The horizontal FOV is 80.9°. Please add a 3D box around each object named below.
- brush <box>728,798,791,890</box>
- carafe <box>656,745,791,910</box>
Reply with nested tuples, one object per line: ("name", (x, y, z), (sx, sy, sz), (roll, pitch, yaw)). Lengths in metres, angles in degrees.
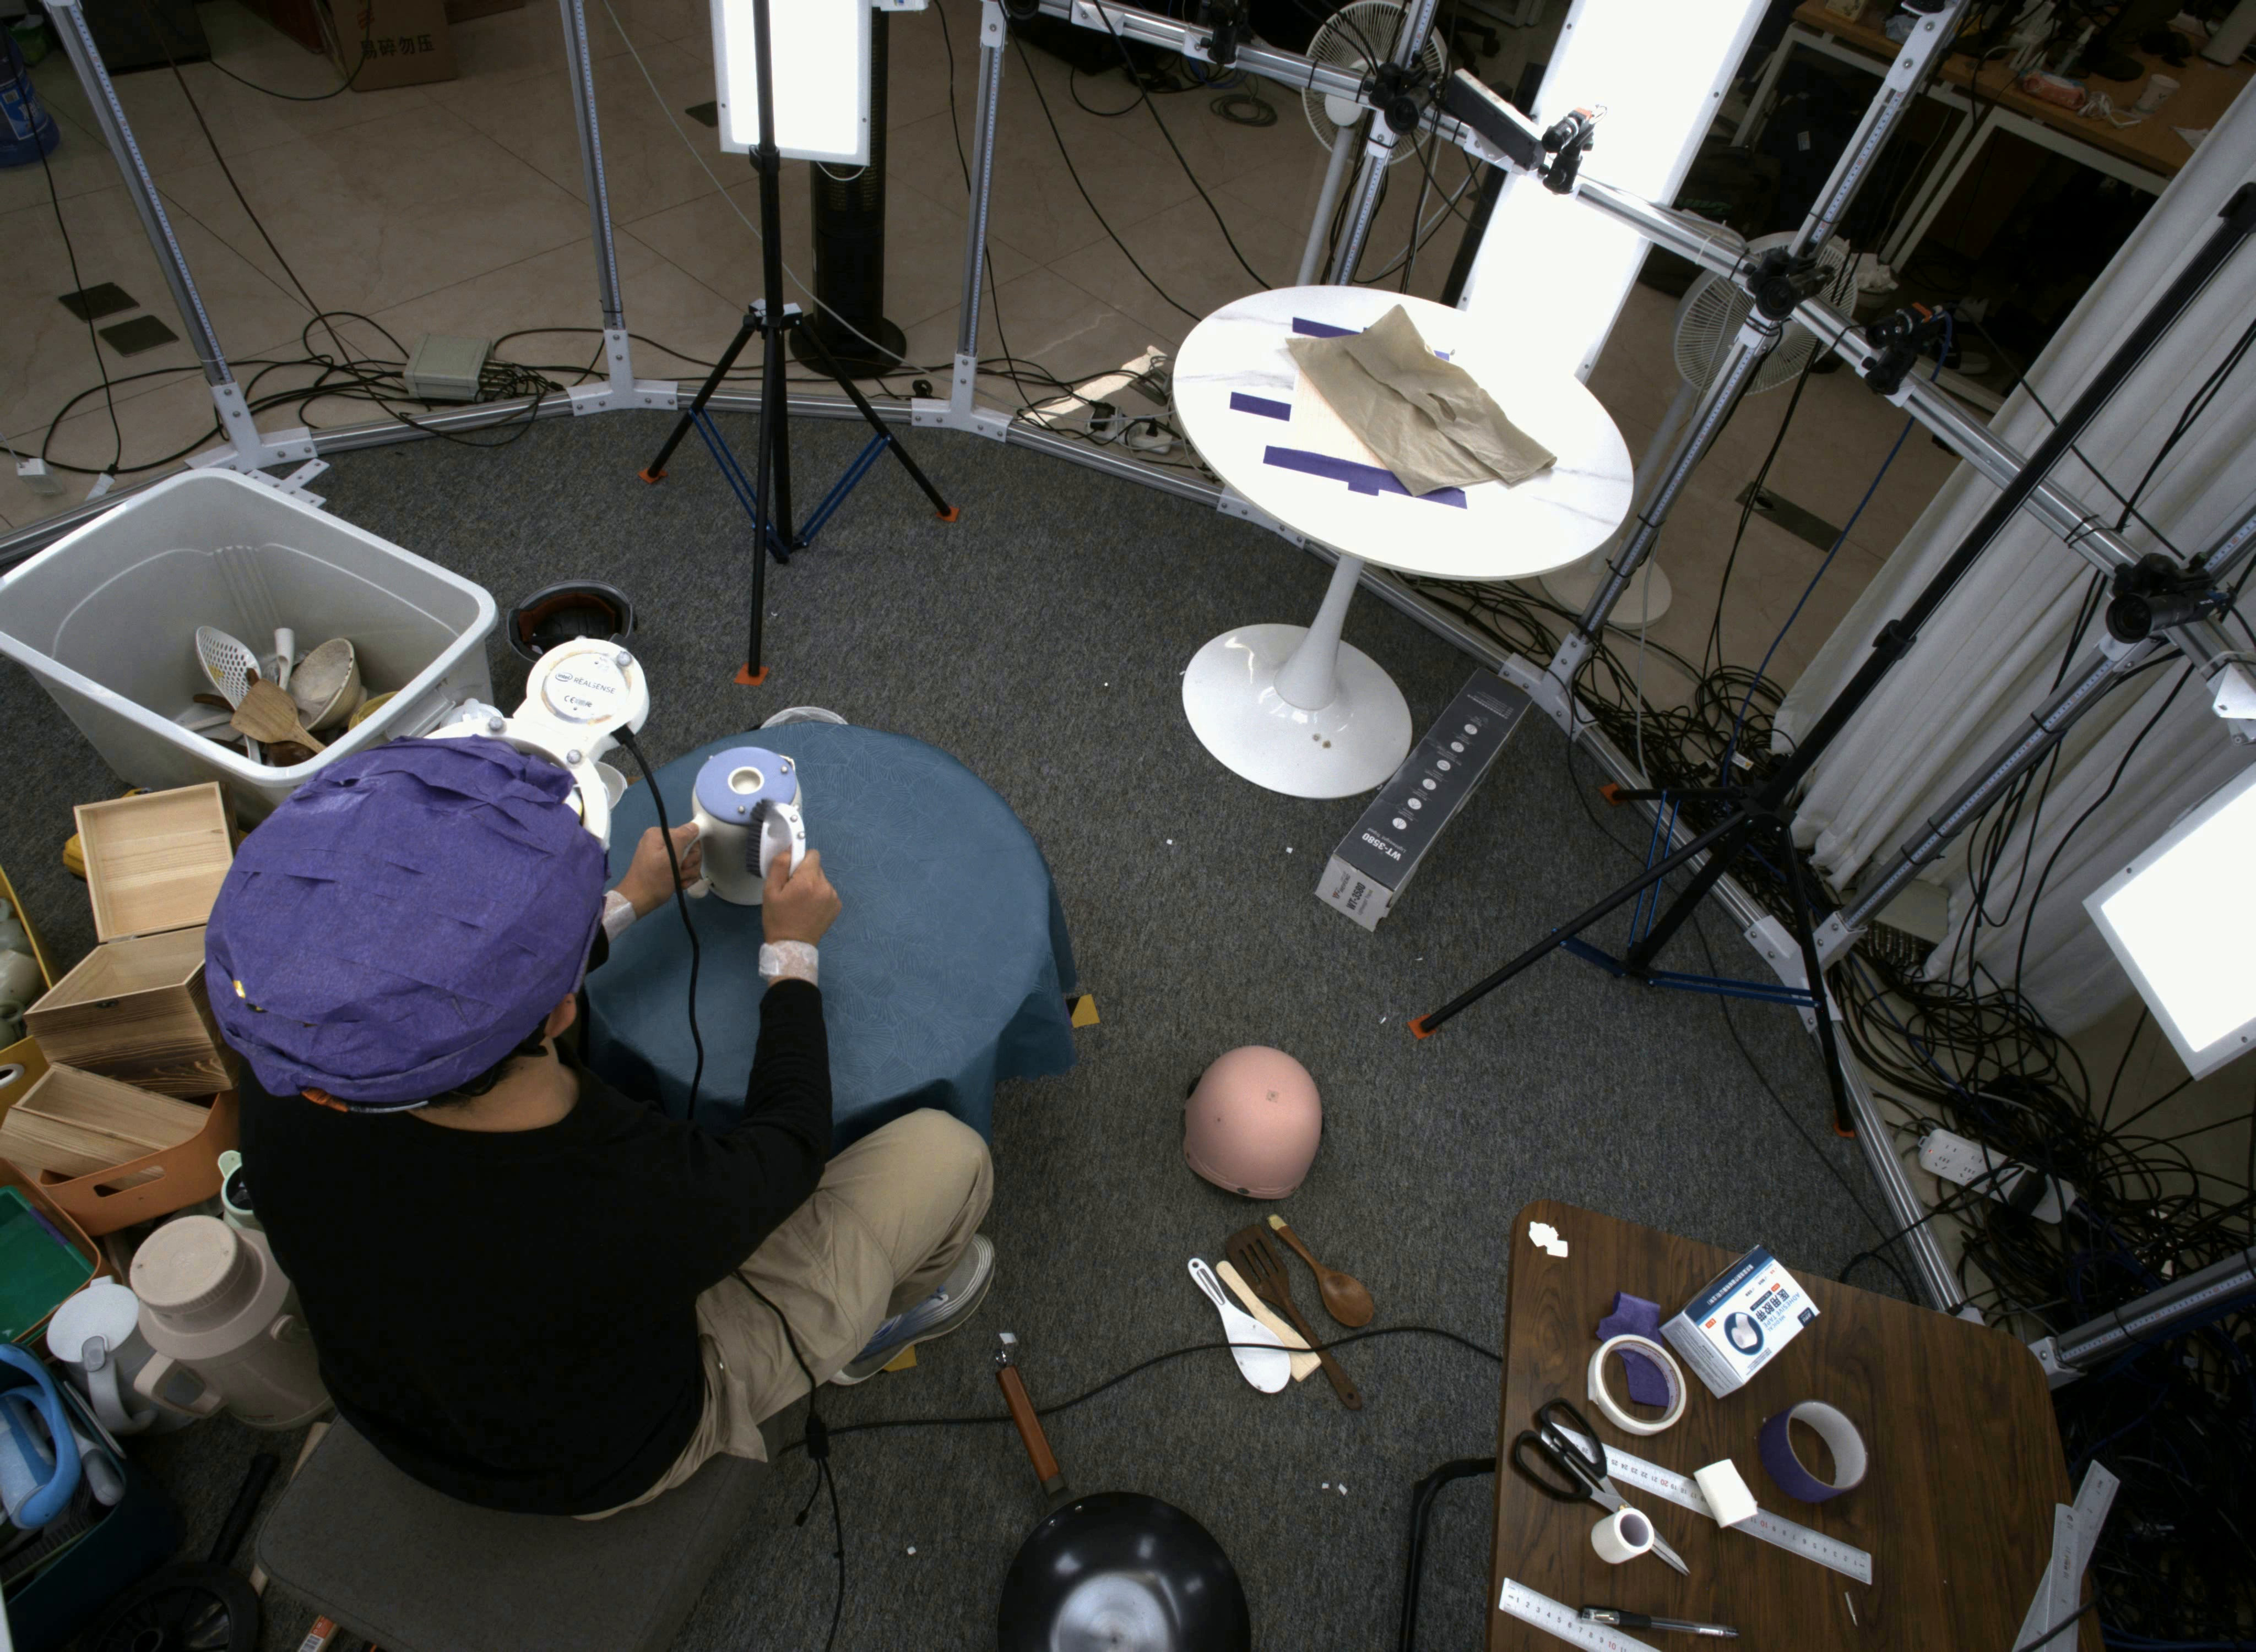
("brush", (-0.417, 0.023, 1.489), (0.070, 0.101, 0.051), (19, 15, 32))
("carafe", (-0.500, 0.014, 1.577), (0.129, 0.186, 0.191), (36, 55, 17))
